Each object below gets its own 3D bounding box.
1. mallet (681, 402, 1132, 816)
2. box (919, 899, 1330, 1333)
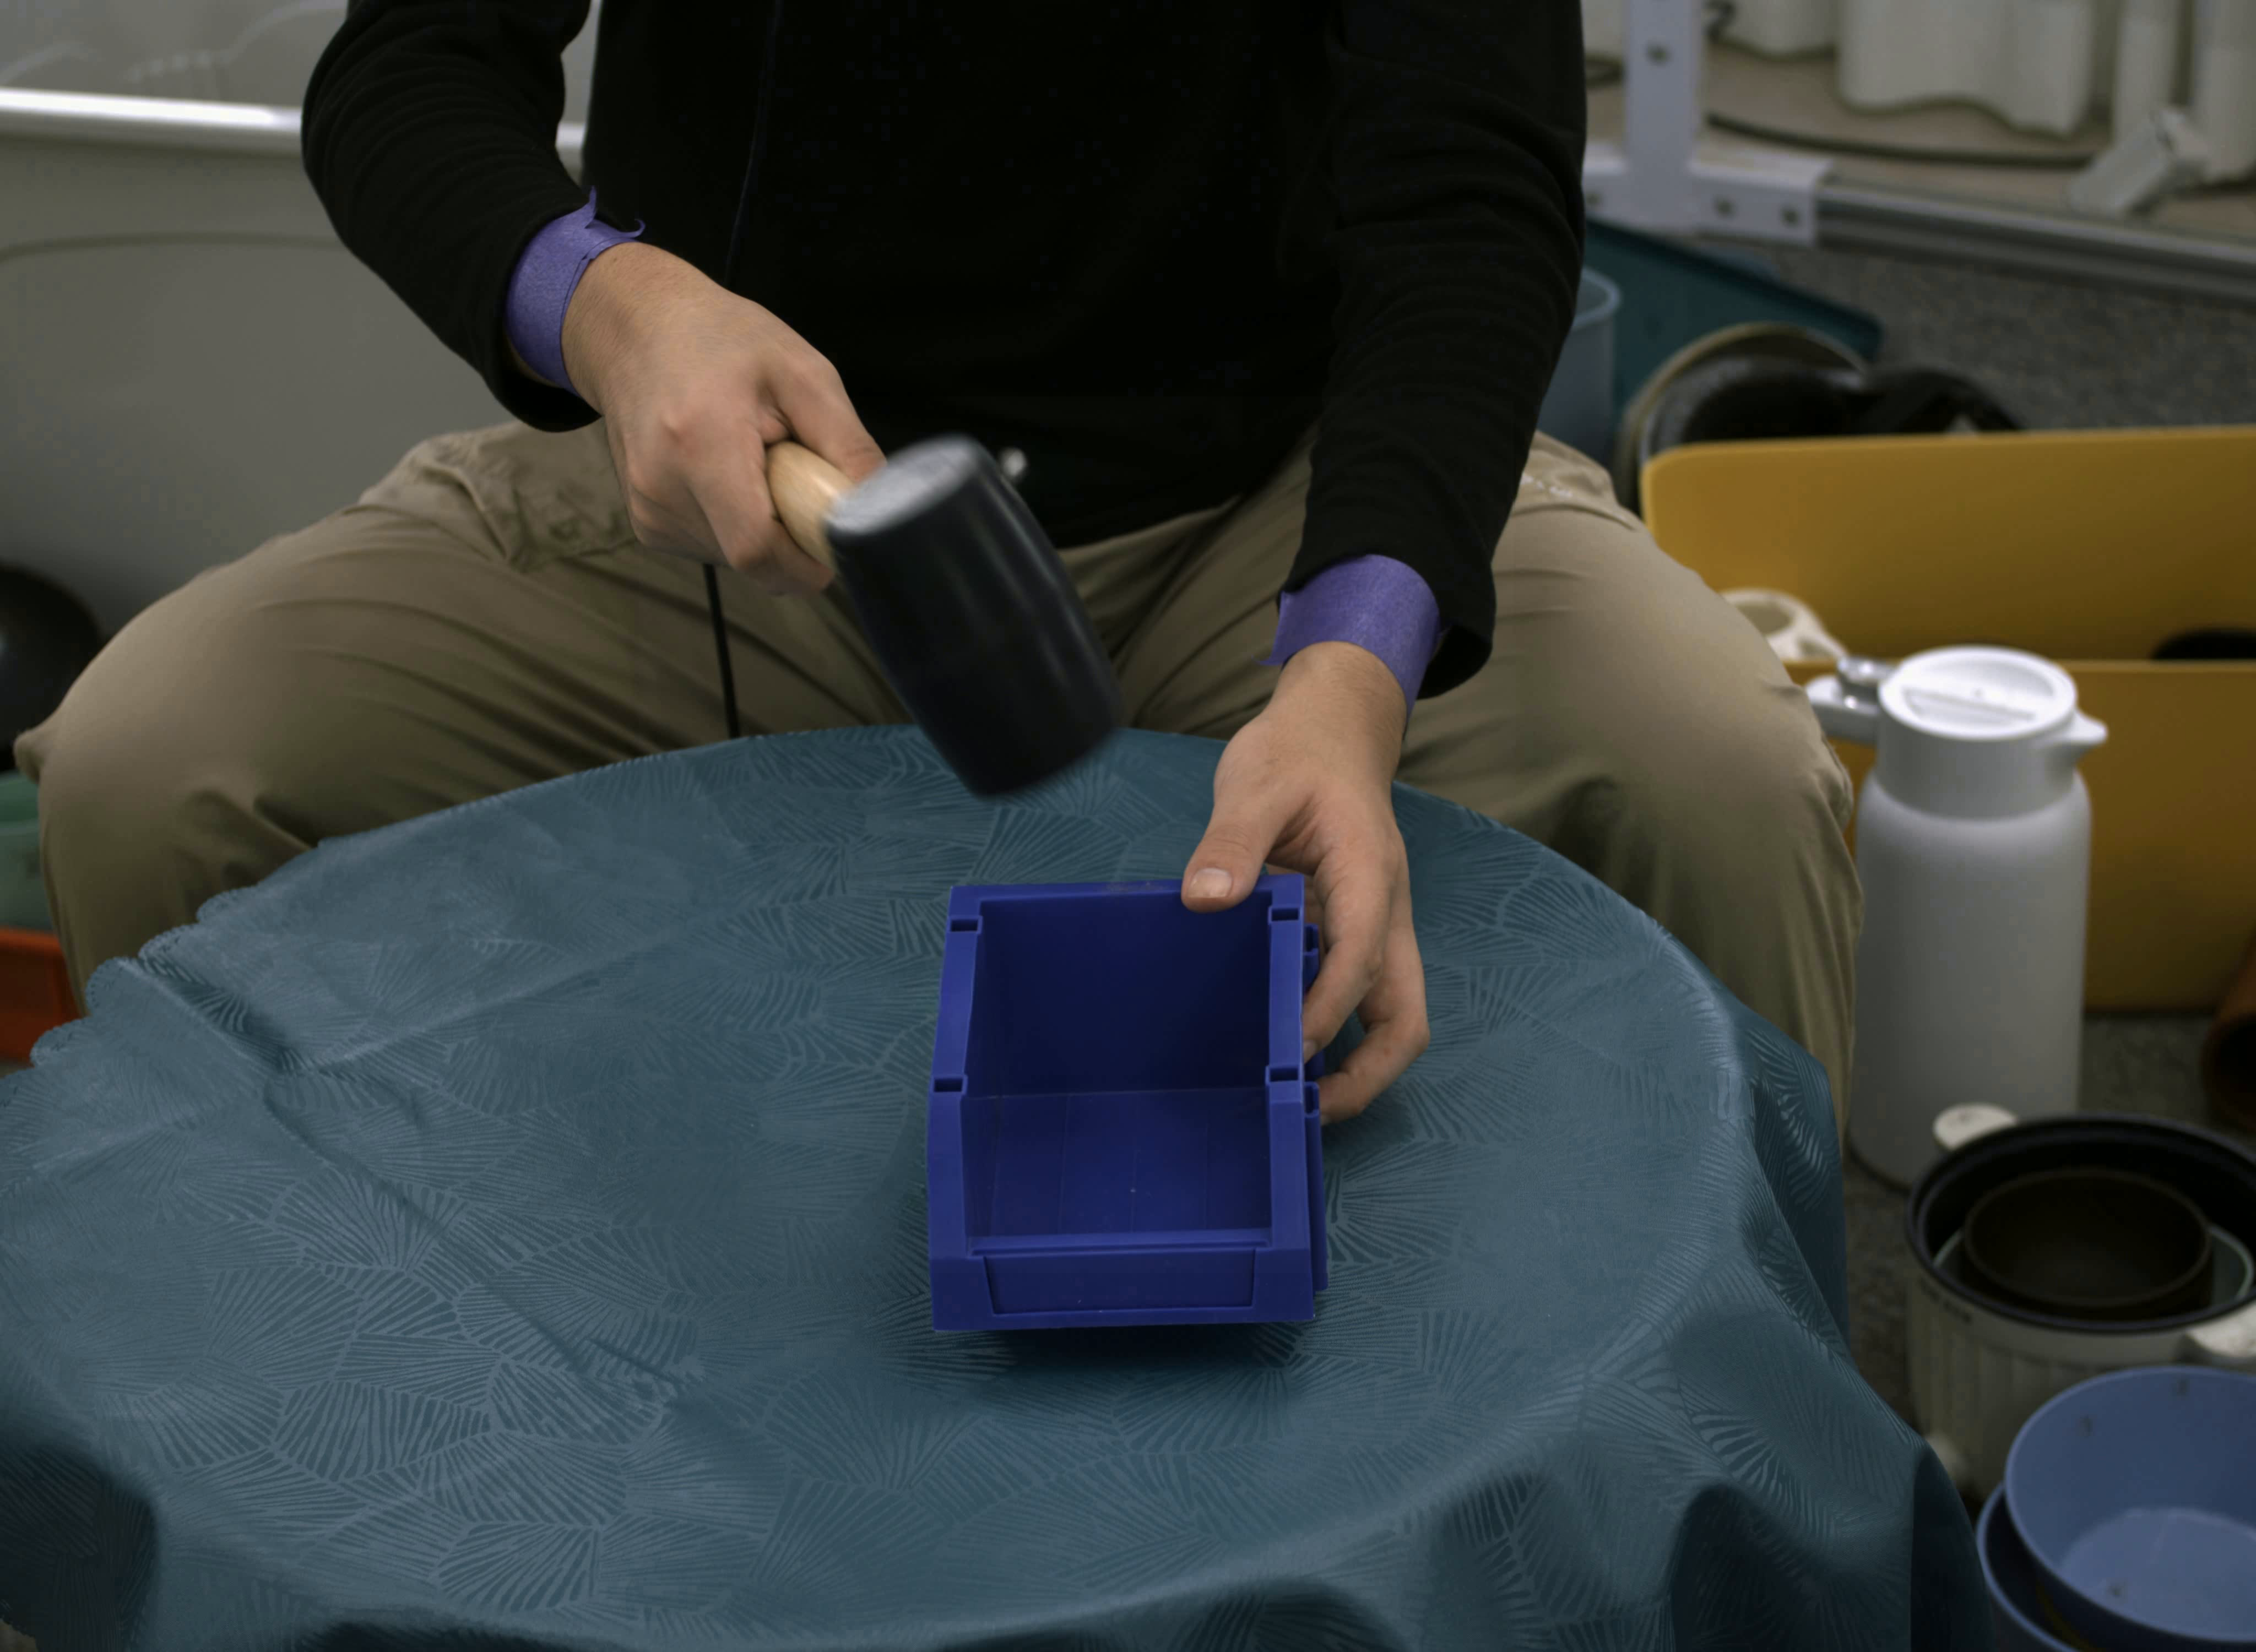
[{"bbox_3d":[-0.081,-0.096,1.824,0.064,0.101,0.340,-26,21,-9],"label":"mallet"},{"bbox_3d":[0.001,0.099,1.815,0.124,0.081,0.182,-1,24,3],"label":"box"}]
